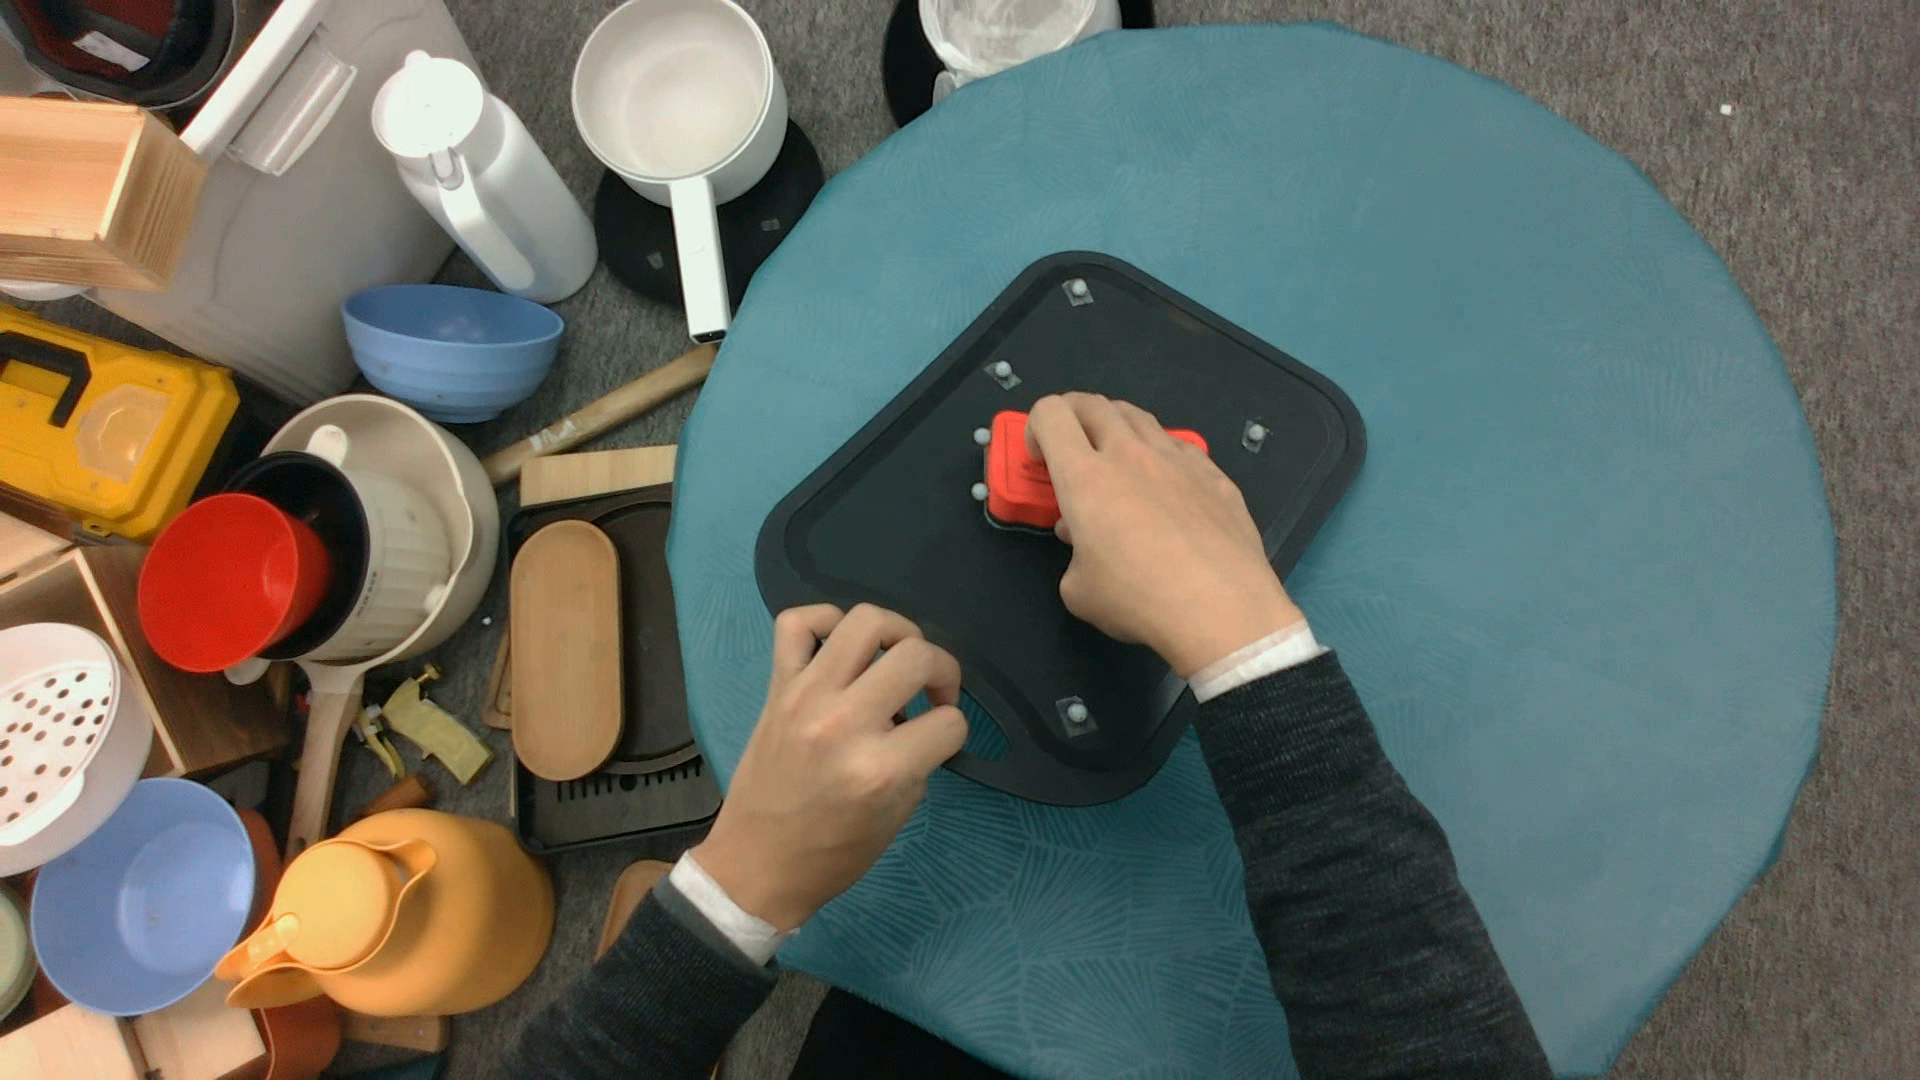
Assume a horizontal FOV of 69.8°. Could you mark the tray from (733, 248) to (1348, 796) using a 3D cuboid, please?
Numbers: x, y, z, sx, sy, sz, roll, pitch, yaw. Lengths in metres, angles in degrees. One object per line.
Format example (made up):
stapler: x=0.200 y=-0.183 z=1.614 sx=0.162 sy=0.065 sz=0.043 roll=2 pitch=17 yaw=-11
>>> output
tray: x=0.047 y=-0.024 z=0.664 sx=0.211 sy=0.010 sz=0.327 roll=33 pitch=54 yaw=13

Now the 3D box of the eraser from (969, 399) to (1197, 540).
eraser: x=0.059 y=-0.034 z=0.664 sx=0.108 sy=0.023 sz=0.059 roll=7 pitch=55 yaw=-8
